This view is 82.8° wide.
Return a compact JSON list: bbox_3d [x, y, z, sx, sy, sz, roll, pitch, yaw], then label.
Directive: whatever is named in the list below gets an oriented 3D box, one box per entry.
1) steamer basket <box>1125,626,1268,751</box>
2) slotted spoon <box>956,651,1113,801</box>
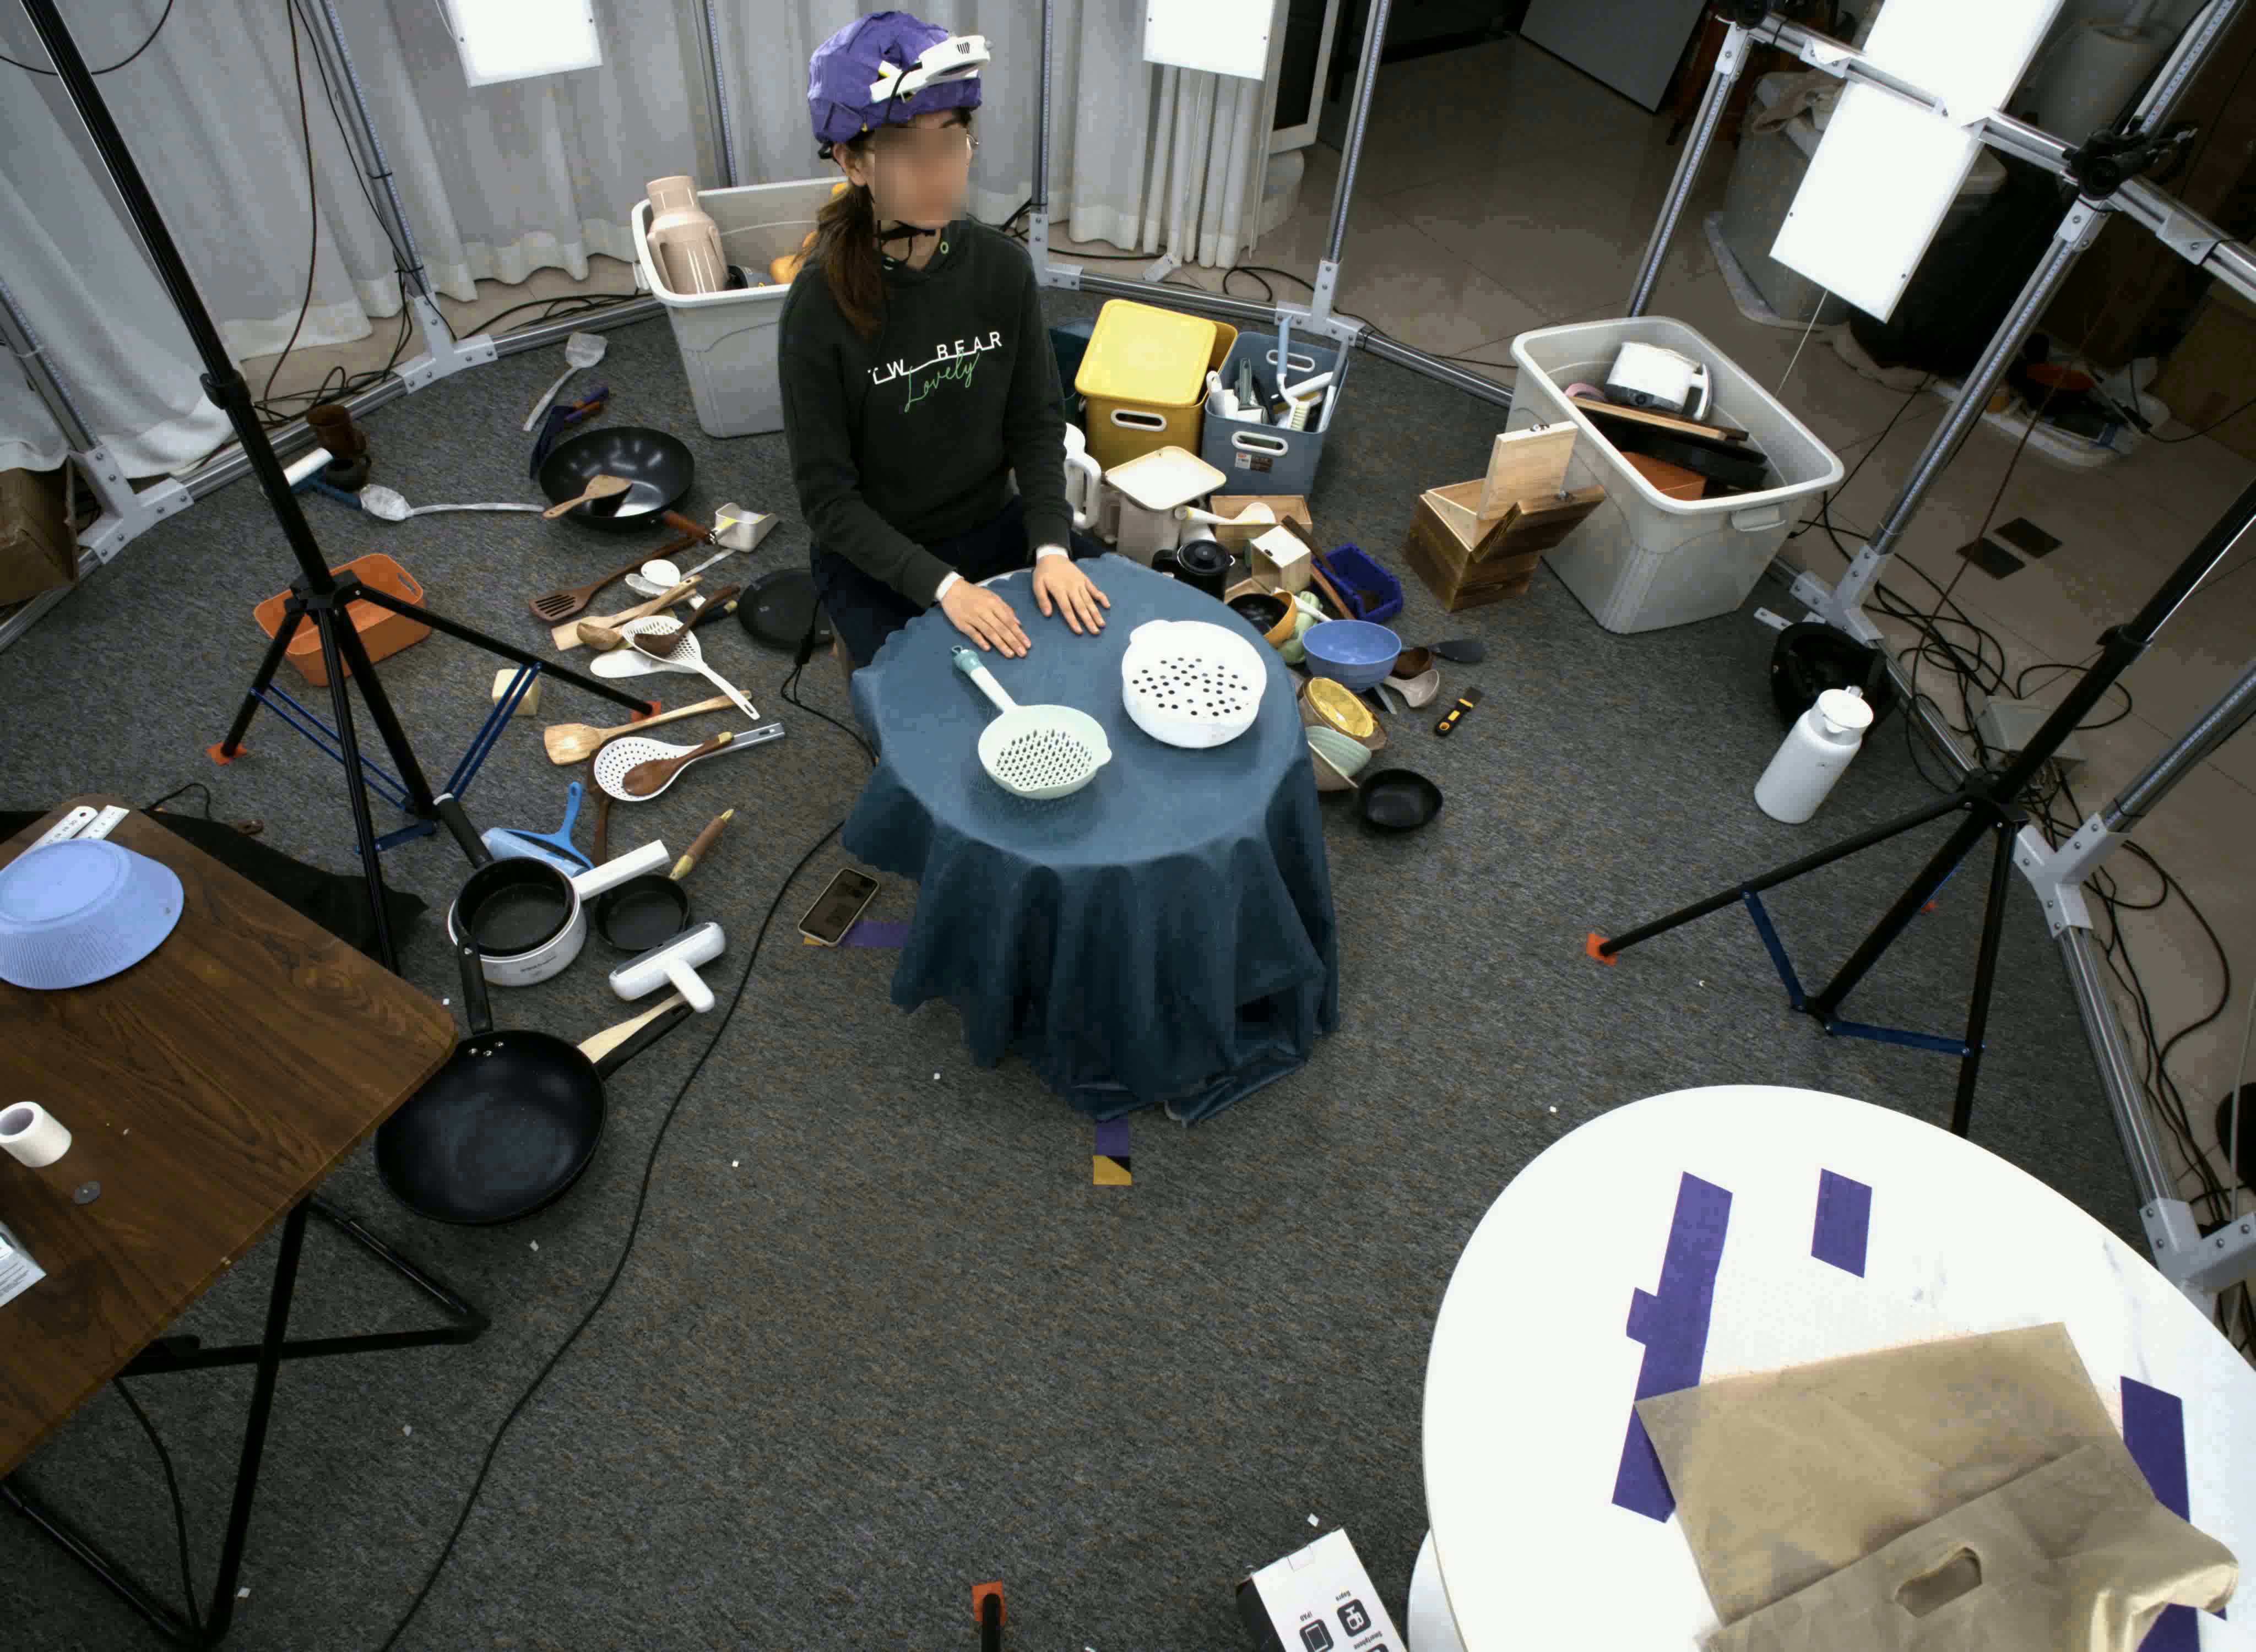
[{"bbox_3d":[0.095,-0.193,1.817,0.203,0.067,0.235,-29,56,-27],"label":"steamer basket"},{"bbox_3d":[-0.159,-0.154,1.766,0.170,0.073,0.366,-21,53,-21],"label":"slotted spoon"}]
